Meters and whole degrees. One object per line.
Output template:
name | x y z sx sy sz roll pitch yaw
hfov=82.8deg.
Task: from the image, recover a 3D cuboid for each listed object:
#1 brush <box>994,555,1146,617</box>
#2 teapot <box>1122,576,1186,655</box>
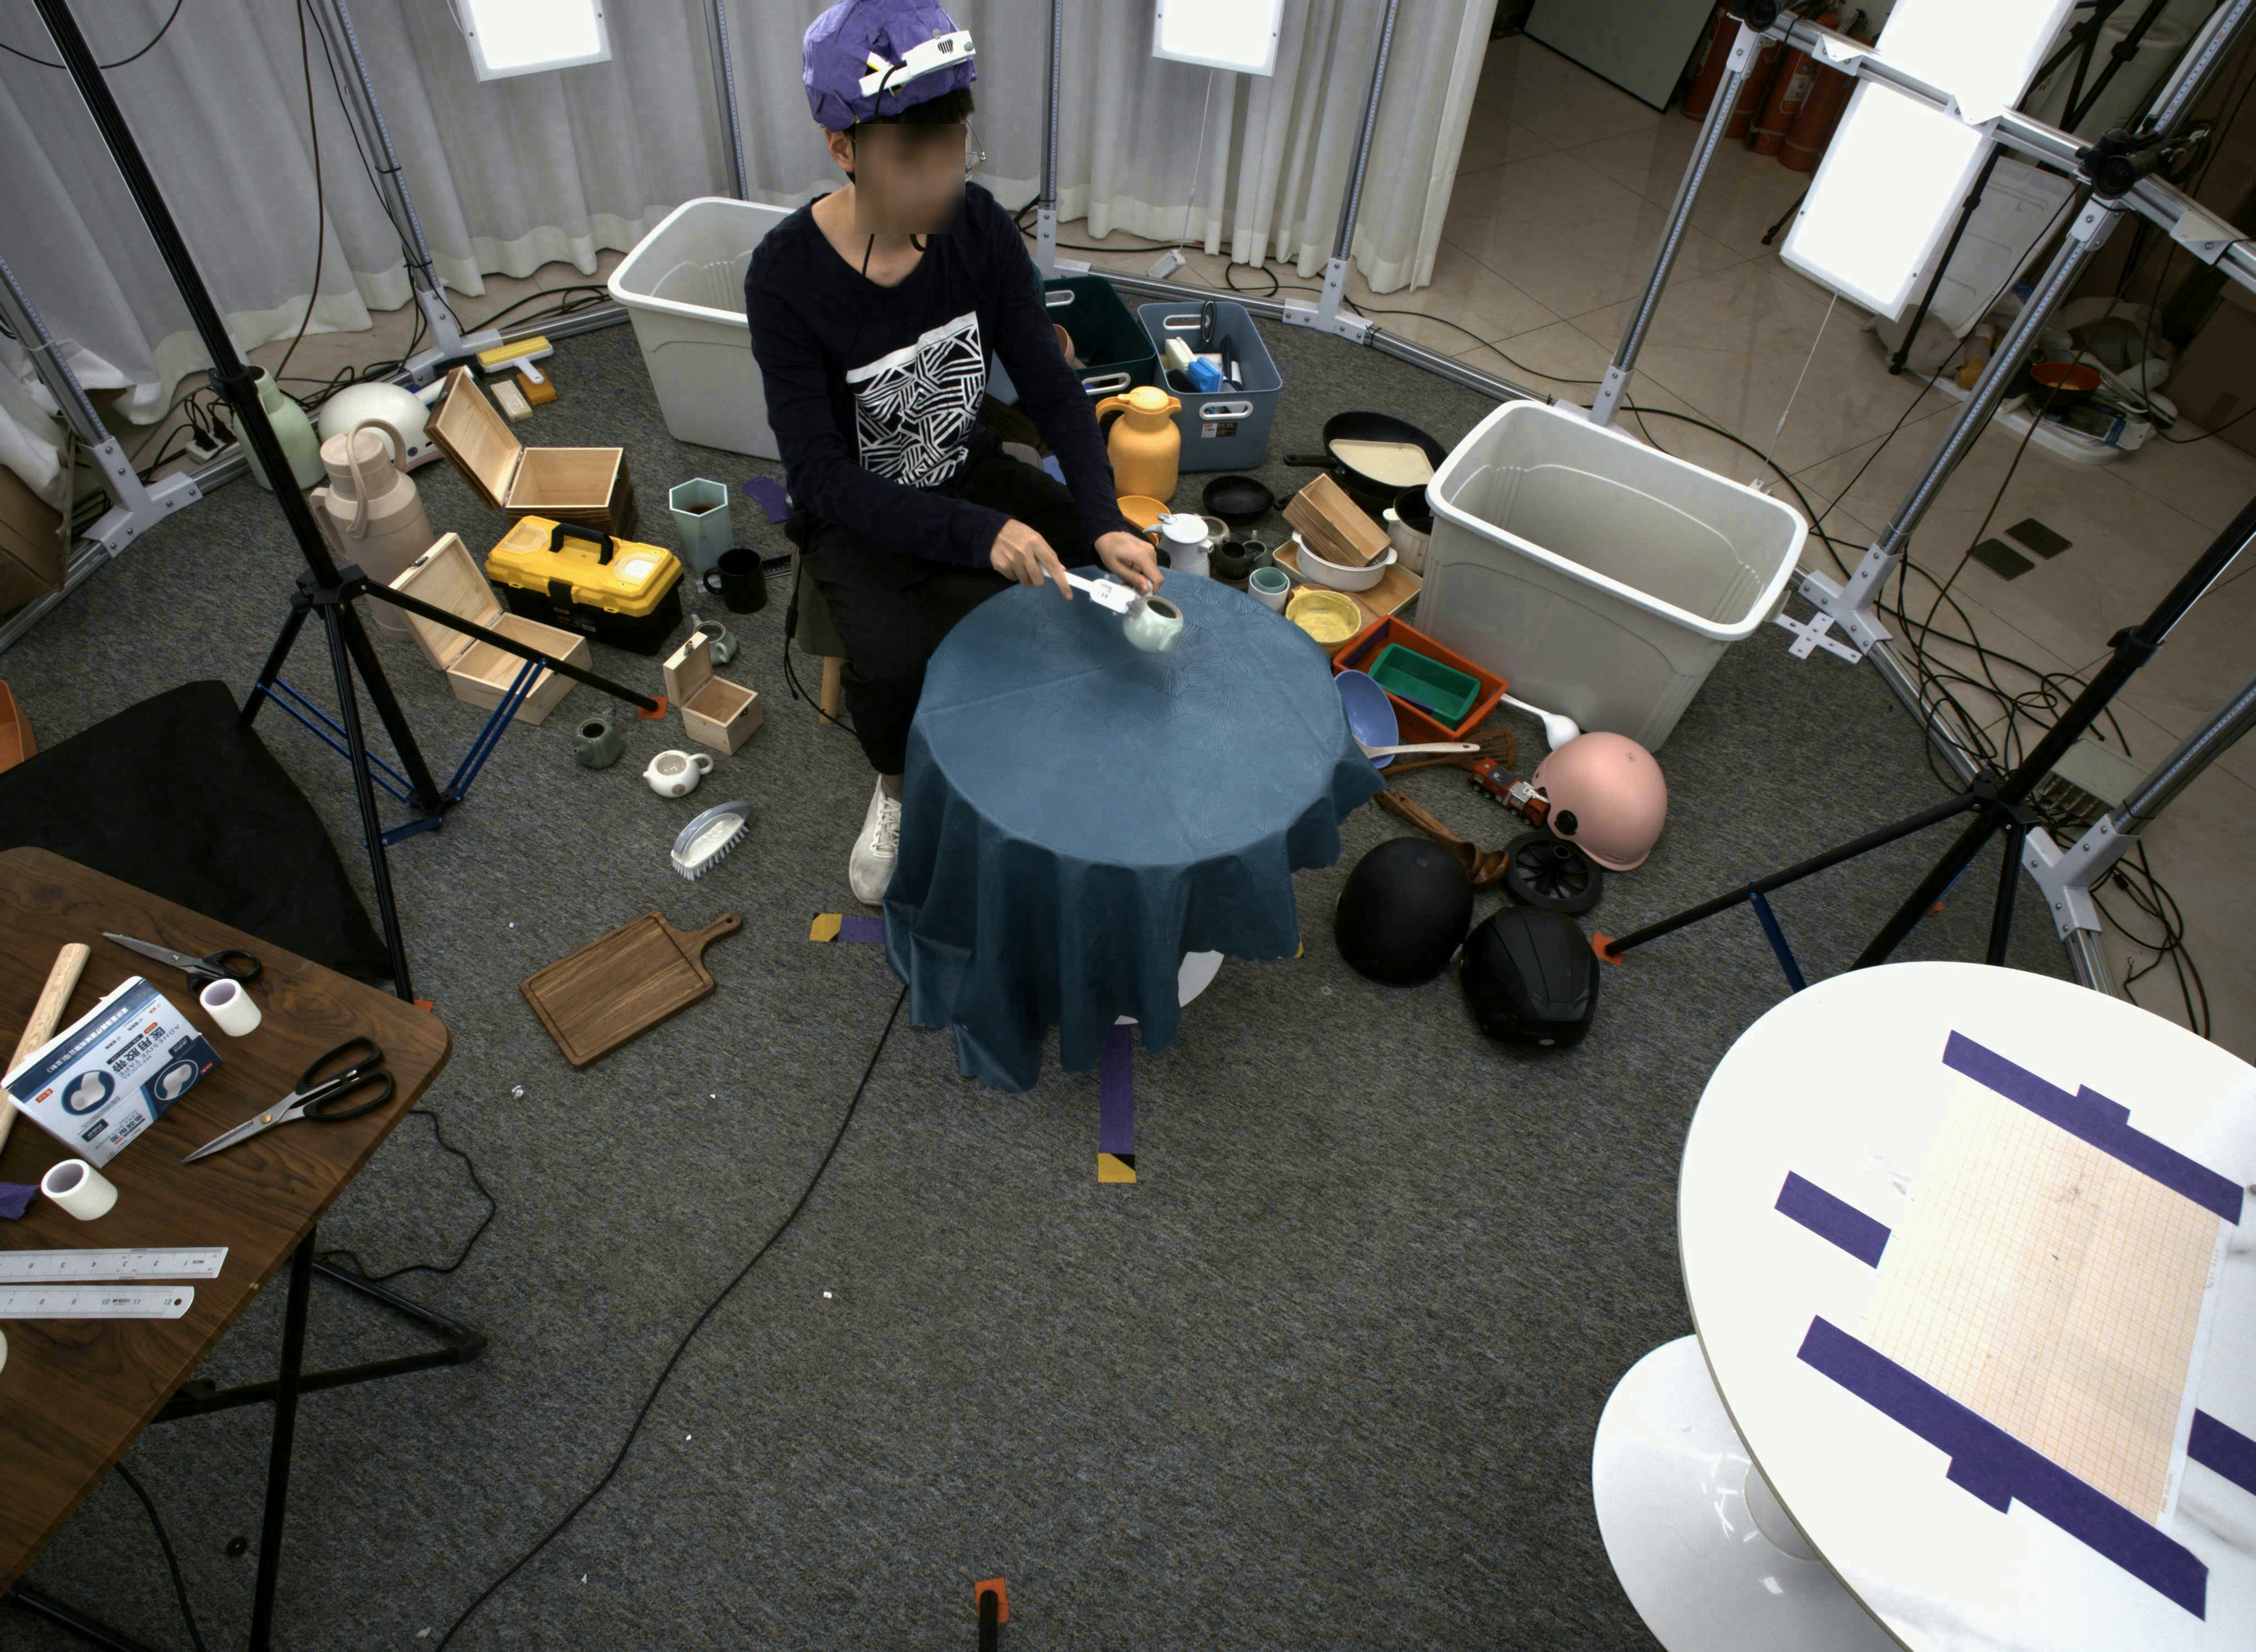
brush | -0.082 -0.341 1.816 0.246 0.034 0.050 22 17 27
teapot | 0.036 -0.285 1.814 0.088 0.073 0.147 4 42 -33
